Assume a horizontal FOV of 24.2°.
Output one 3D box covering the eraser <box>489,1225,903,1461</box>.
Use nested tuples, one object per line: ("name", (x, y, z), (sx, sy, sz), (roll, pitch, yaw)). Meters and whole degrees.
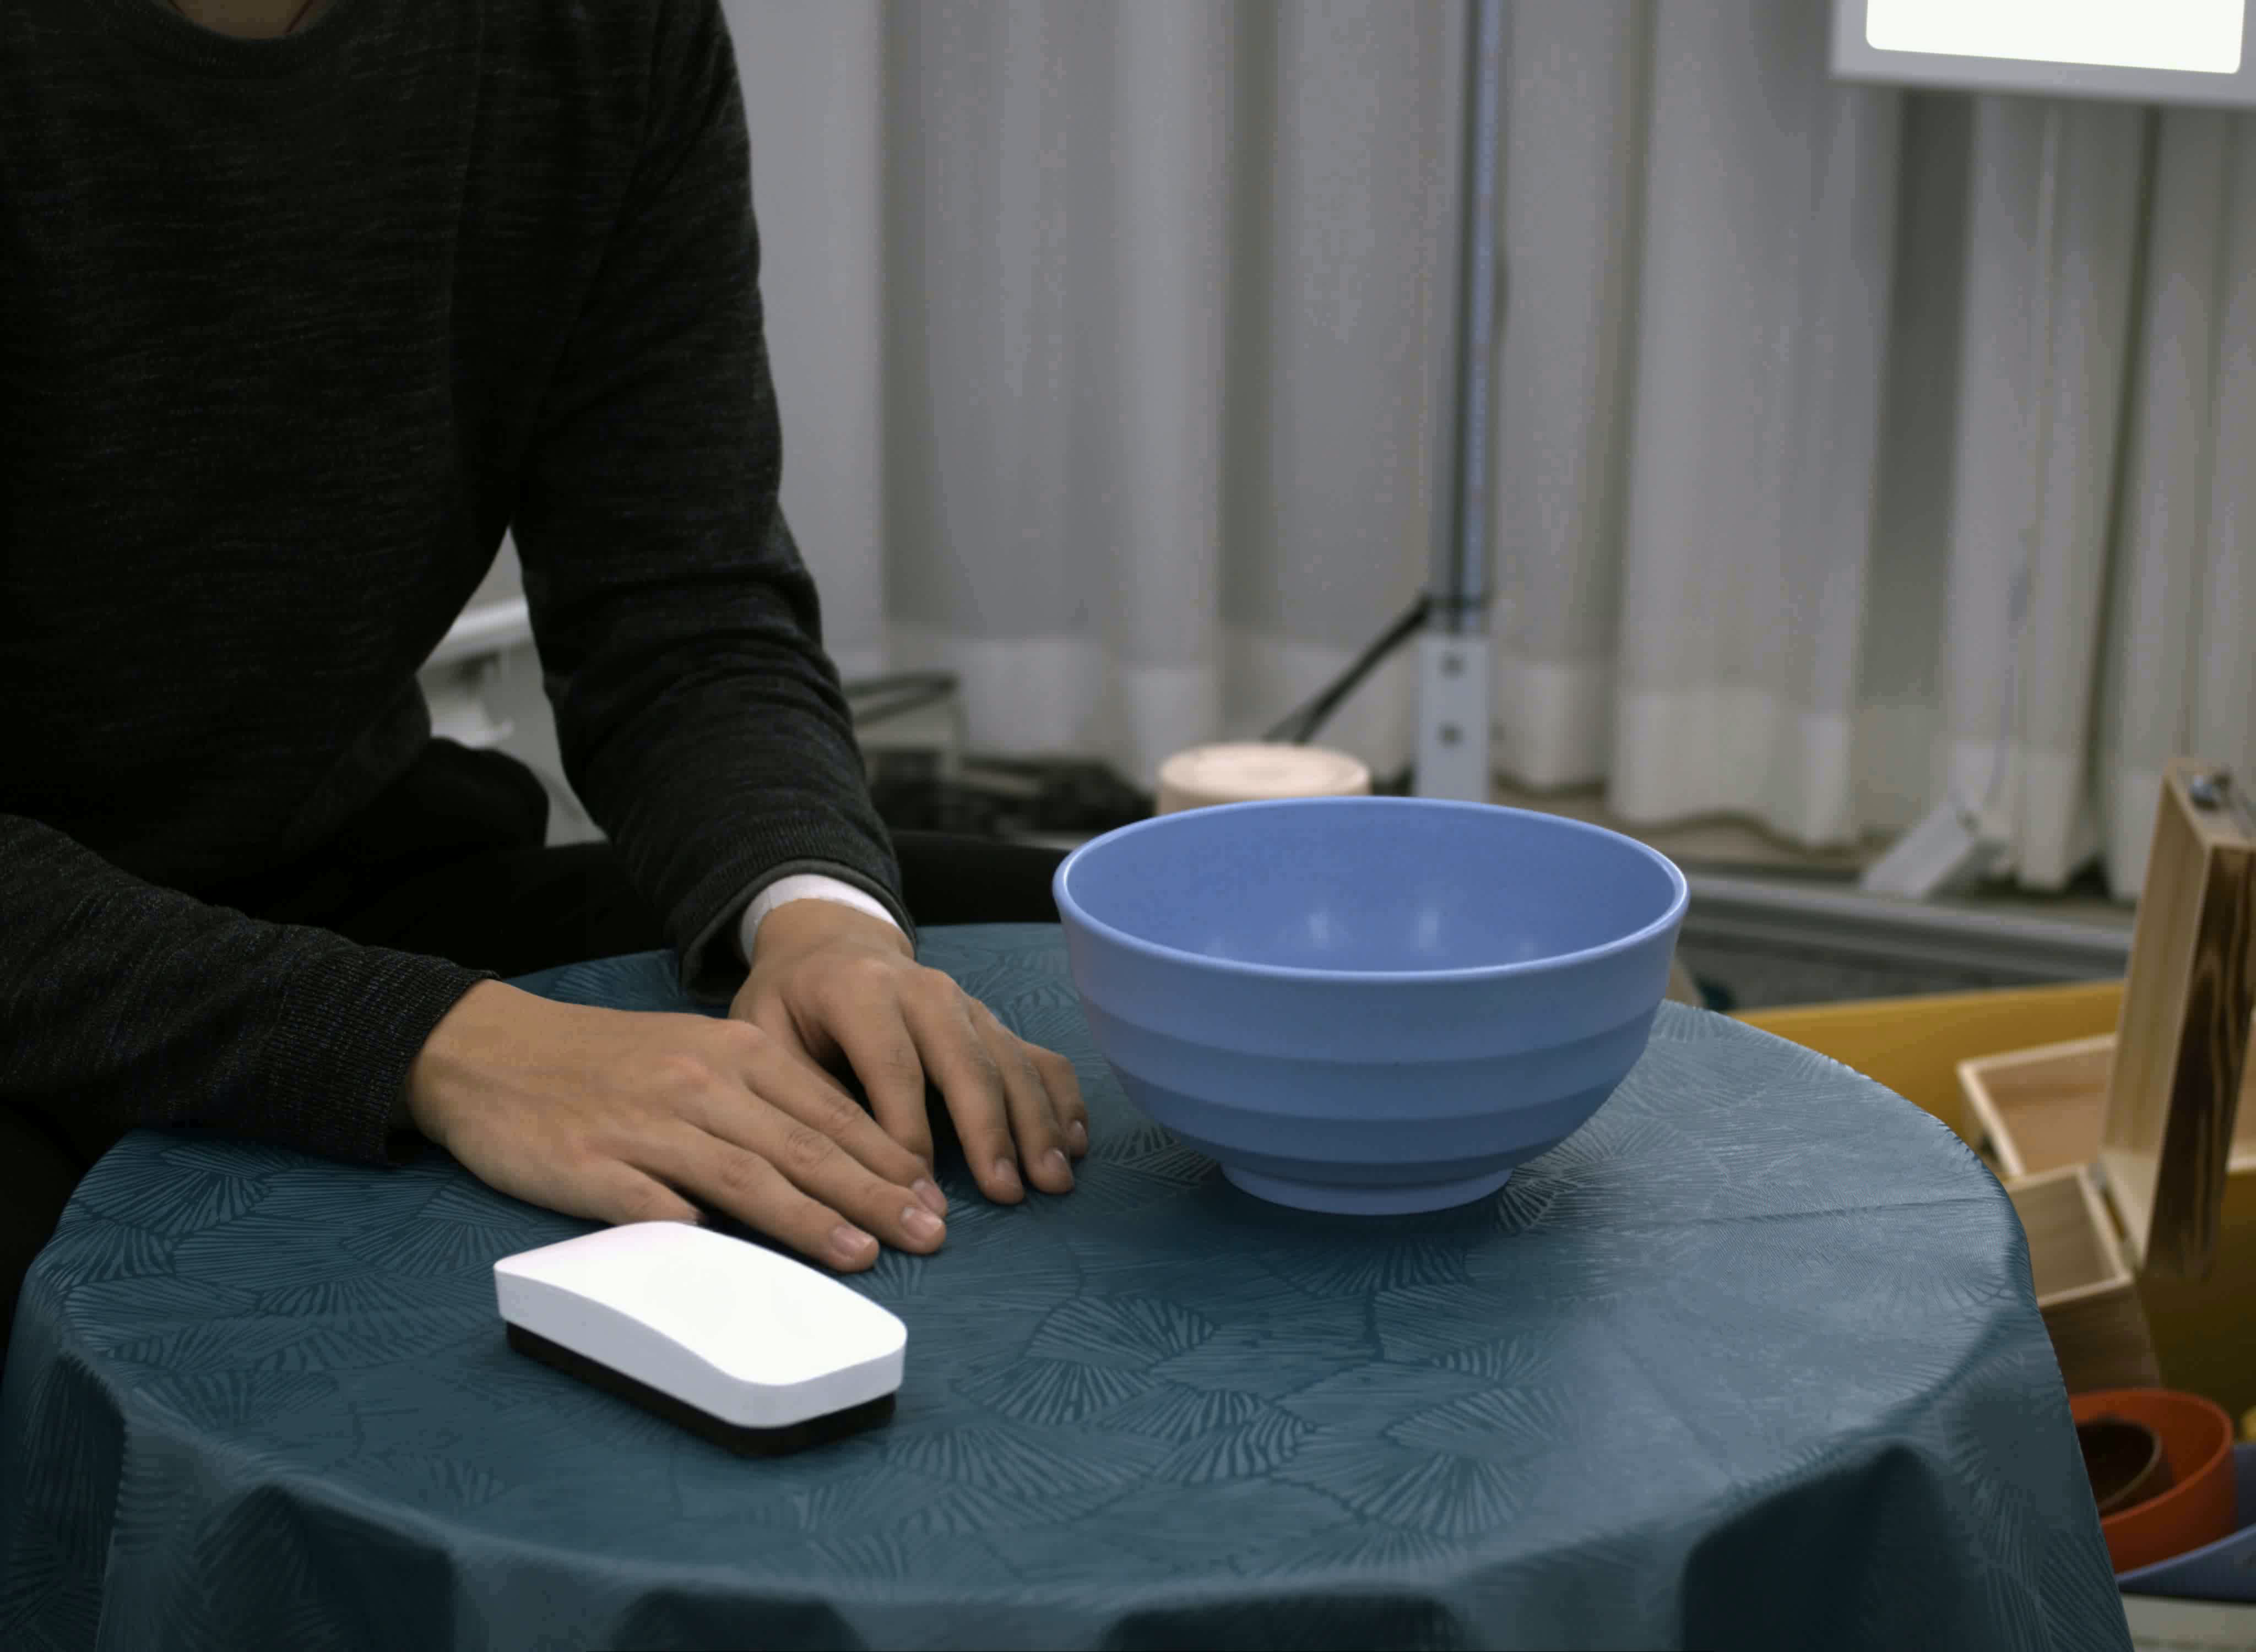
("eraser", (-0.120, 0.139, 1.463), (0.064, 0.035, 0.129), (-12, 21, -40))

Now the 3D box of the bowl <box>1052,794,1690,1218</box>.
("bowl", (0.074, 0.062, 1.630), (0.196, 0.096, 0.195), (1, 16, 0))
